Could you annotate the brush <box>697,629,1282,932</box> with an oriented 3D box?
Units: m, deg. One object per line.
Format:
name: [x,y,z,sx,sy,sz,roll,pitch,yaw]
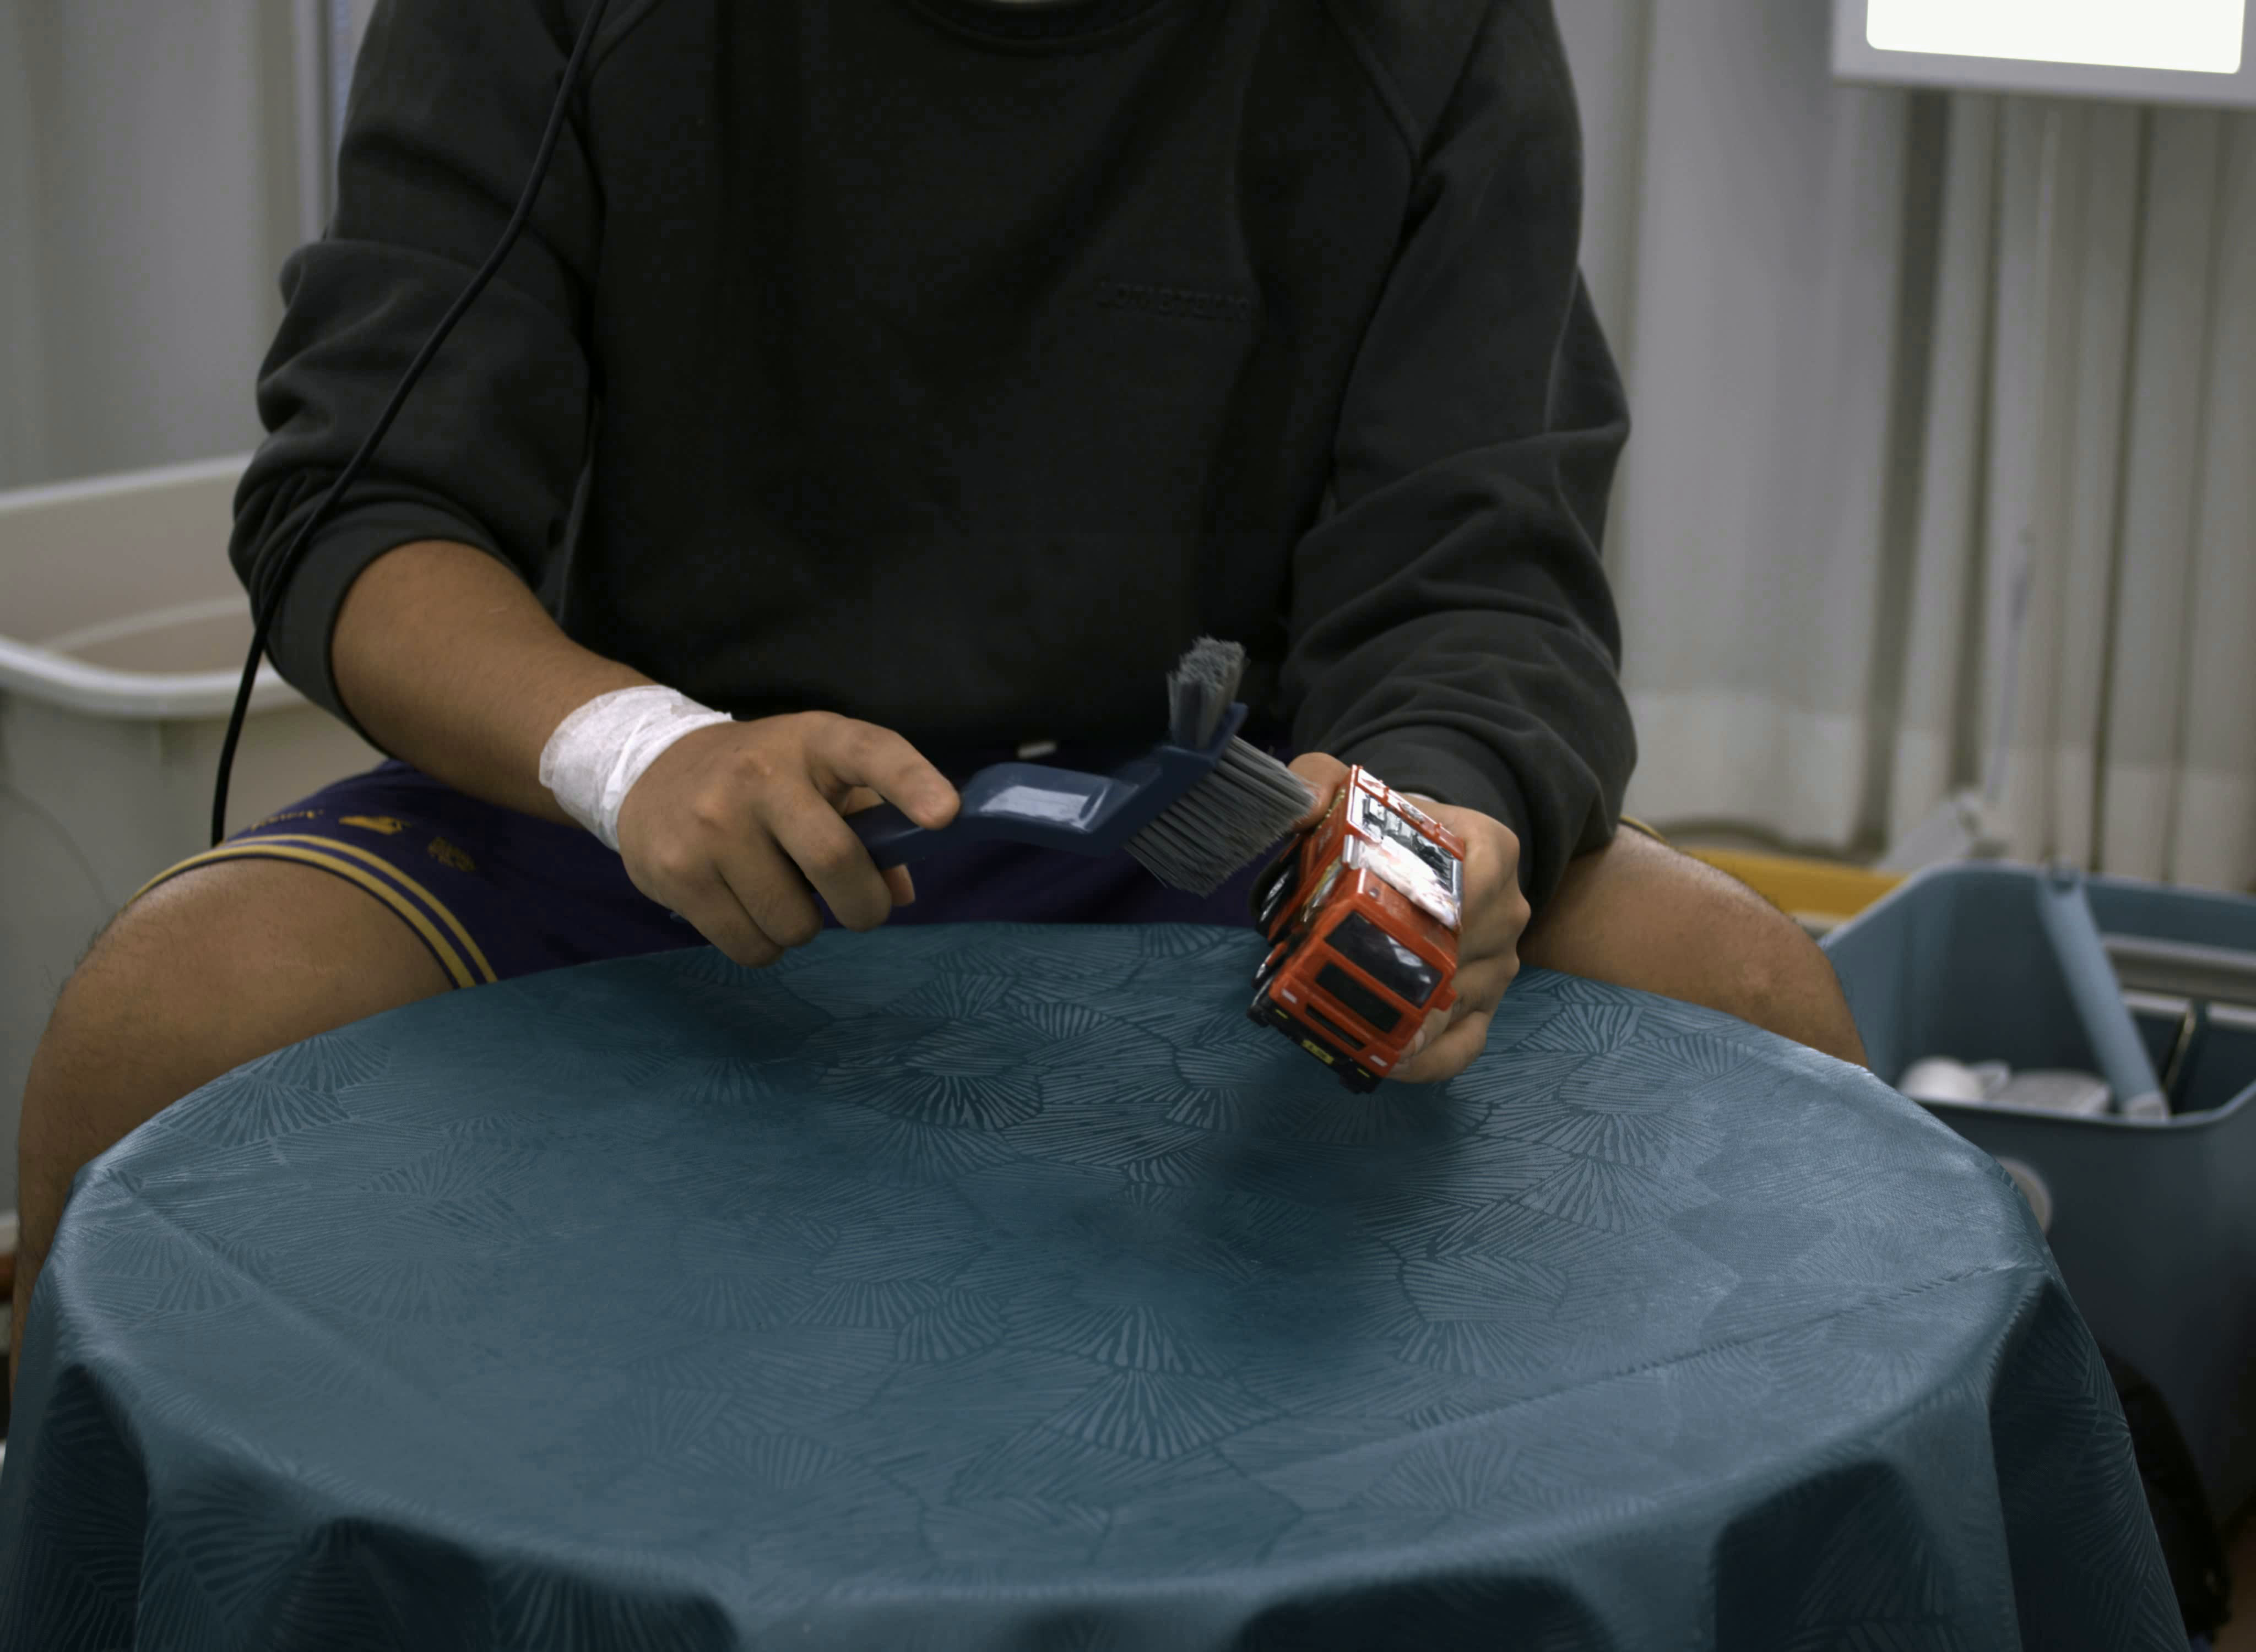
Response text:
brush: [-0.058,-0.011,1.671,0.270,0.097,0.033,-8,44,42]

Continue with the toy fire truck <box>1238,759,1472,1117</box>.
toy fire truck: [0.073,0.031,1.599,0.054,0.070,0.167,36,13,-7]
